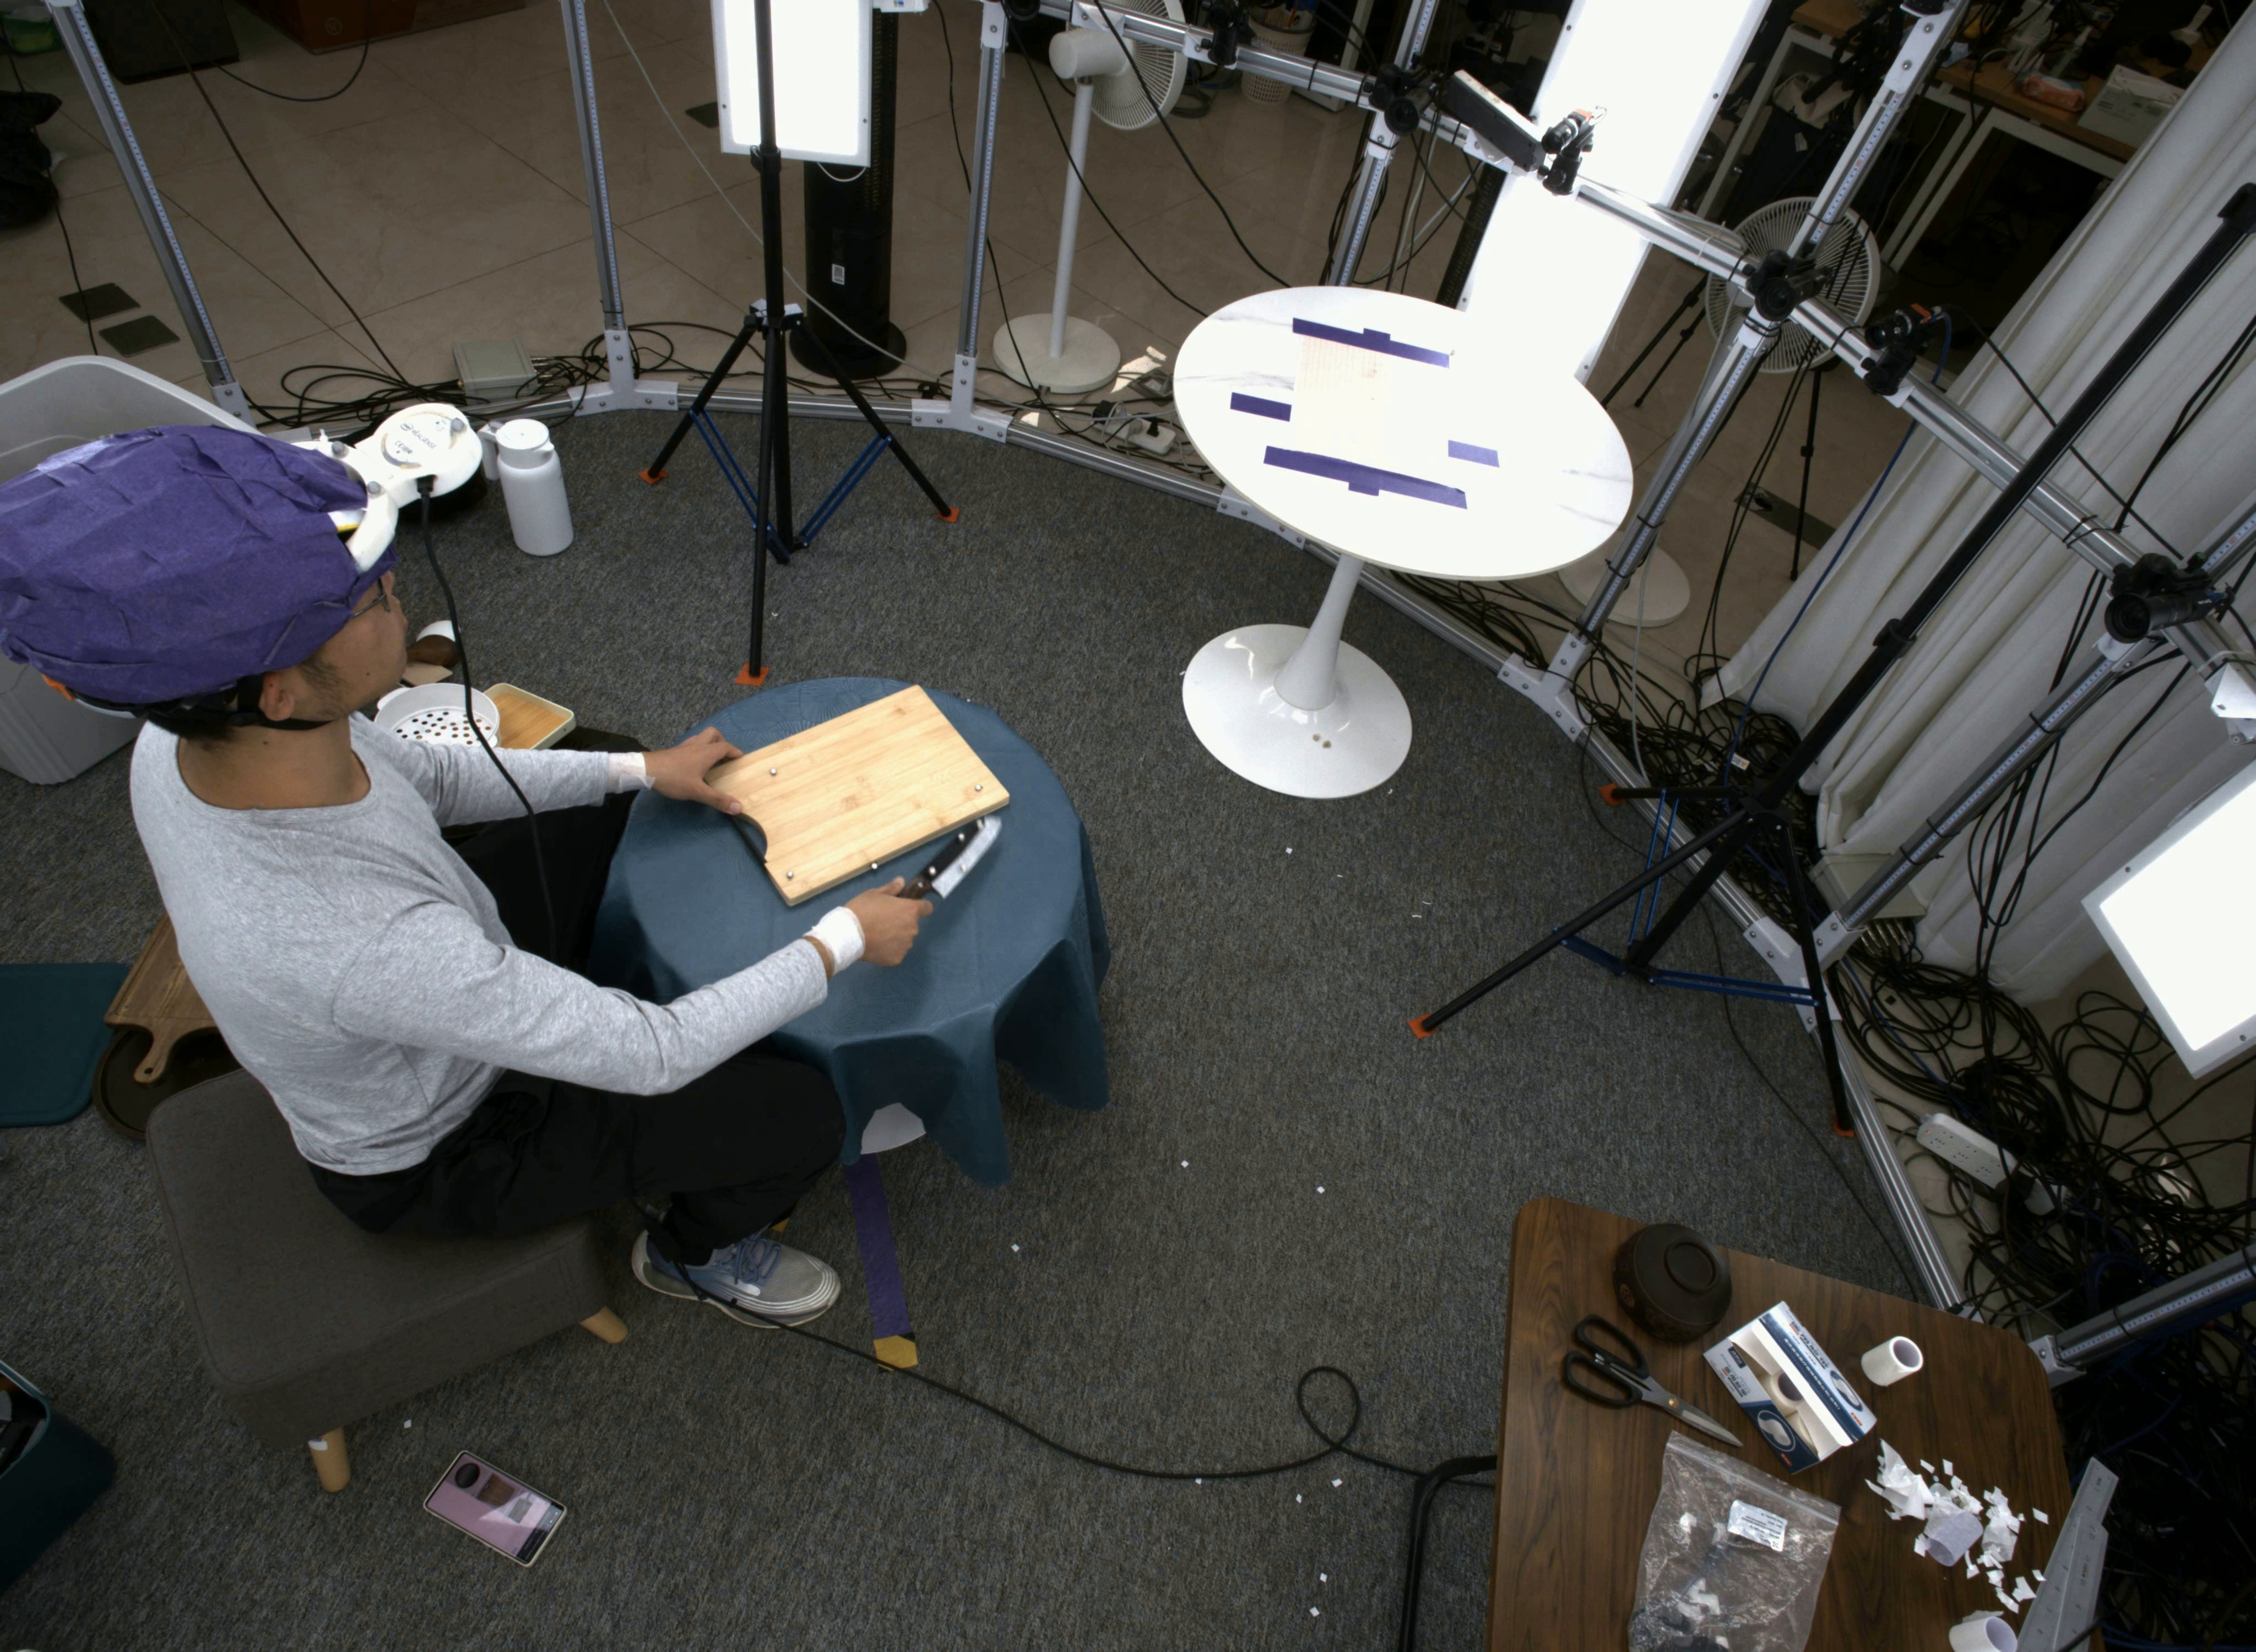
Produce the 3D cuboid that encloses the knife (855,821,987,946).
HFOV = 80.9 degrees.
[{"bbox_3d":[-0.257,0.066,1.656,0.051,0.020,0.288,48,40,-5],"label":"knife"}]

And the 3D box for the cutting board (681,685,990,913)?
[{"bbox_3d":[-0.393,-0.047,1.768,0.350,0.024,0.244,-29,65,-30],"label":"cutting board"}]
